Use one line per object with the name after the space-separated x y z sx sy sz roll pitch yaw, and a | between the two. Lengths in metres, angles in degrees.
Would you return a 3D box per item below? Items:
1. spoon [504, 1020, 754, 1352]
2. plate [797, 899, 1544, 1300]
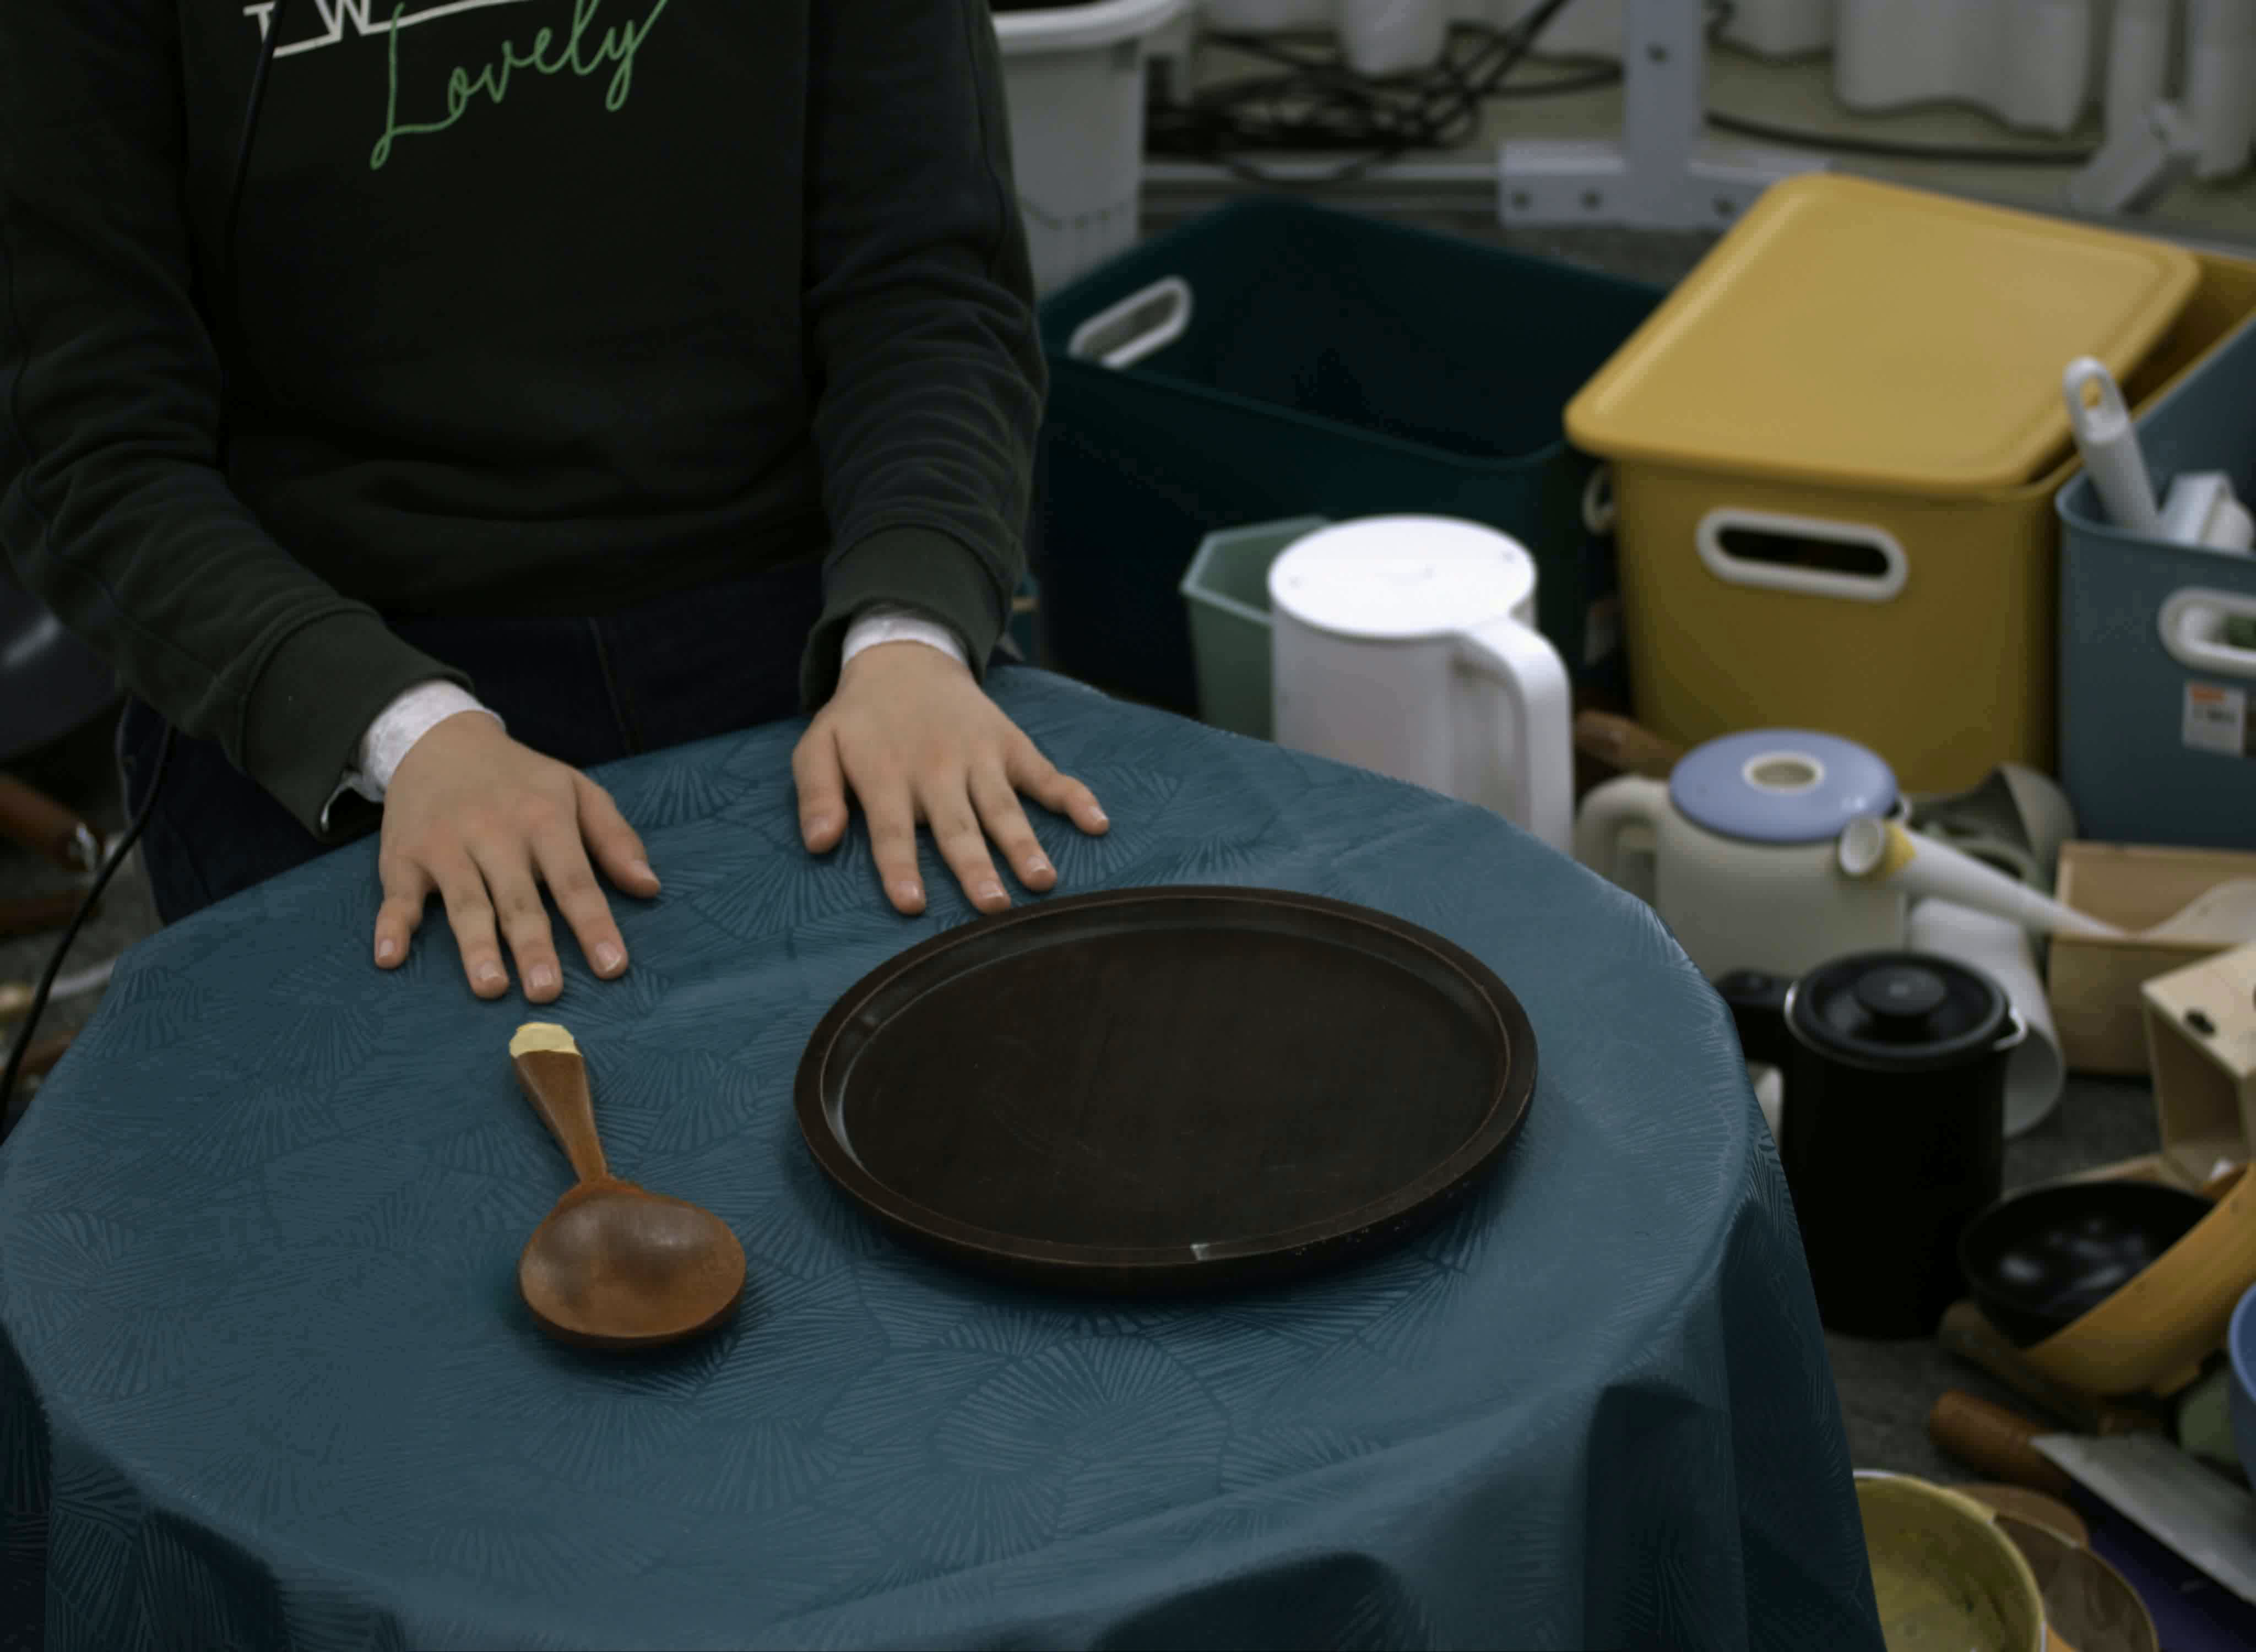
-0.176 0.120 1.863 0.075 0.017 0.218 -10 28 -13 | spoon
0.014 0.090 1.898 0.253 0.029 0.259 -1 28 1 | plate
